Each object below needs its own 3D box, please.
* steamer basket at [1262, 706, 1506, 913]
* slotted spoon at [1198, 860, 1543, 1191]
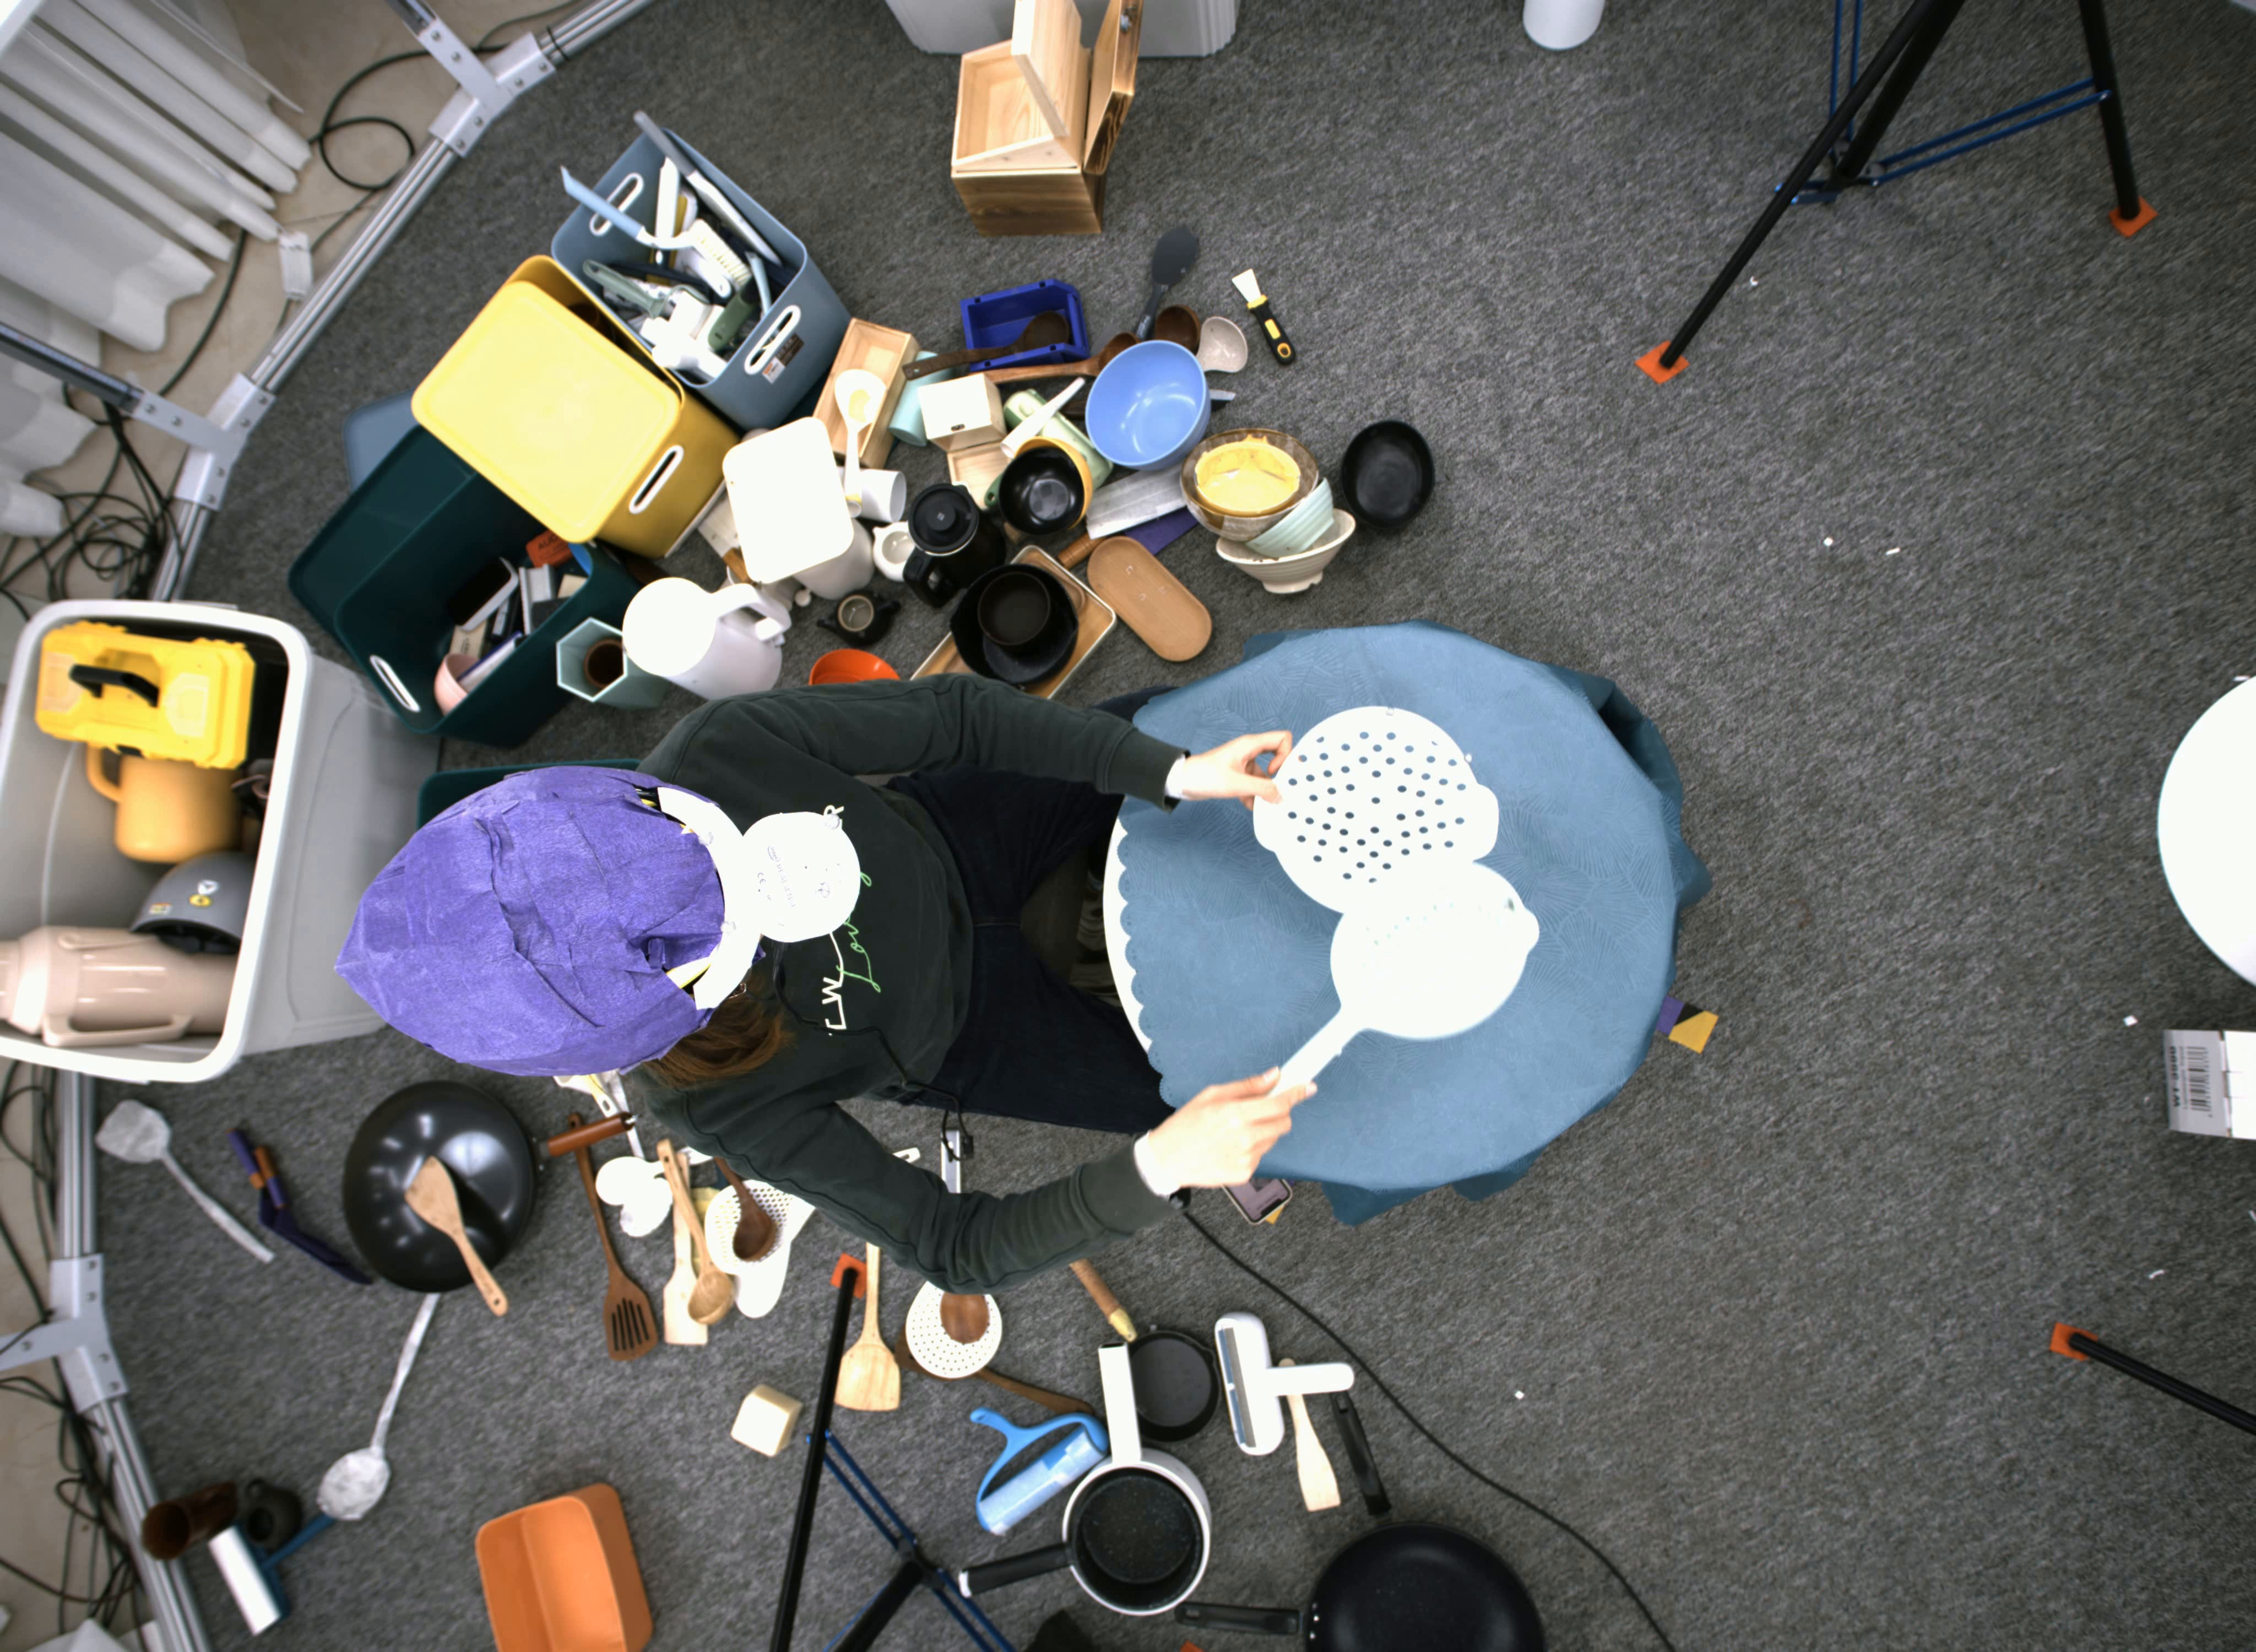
[{"bbox_3d":[0.248,-0.018,1.341,0.231,0.068,0.205,1,109,12],"label":"steamer basket"},{"bbox_3d":[0.191,0.174,1.170,0.356,0.077,0.167,-37,41,-11],"label":"slotted spoon"}]
